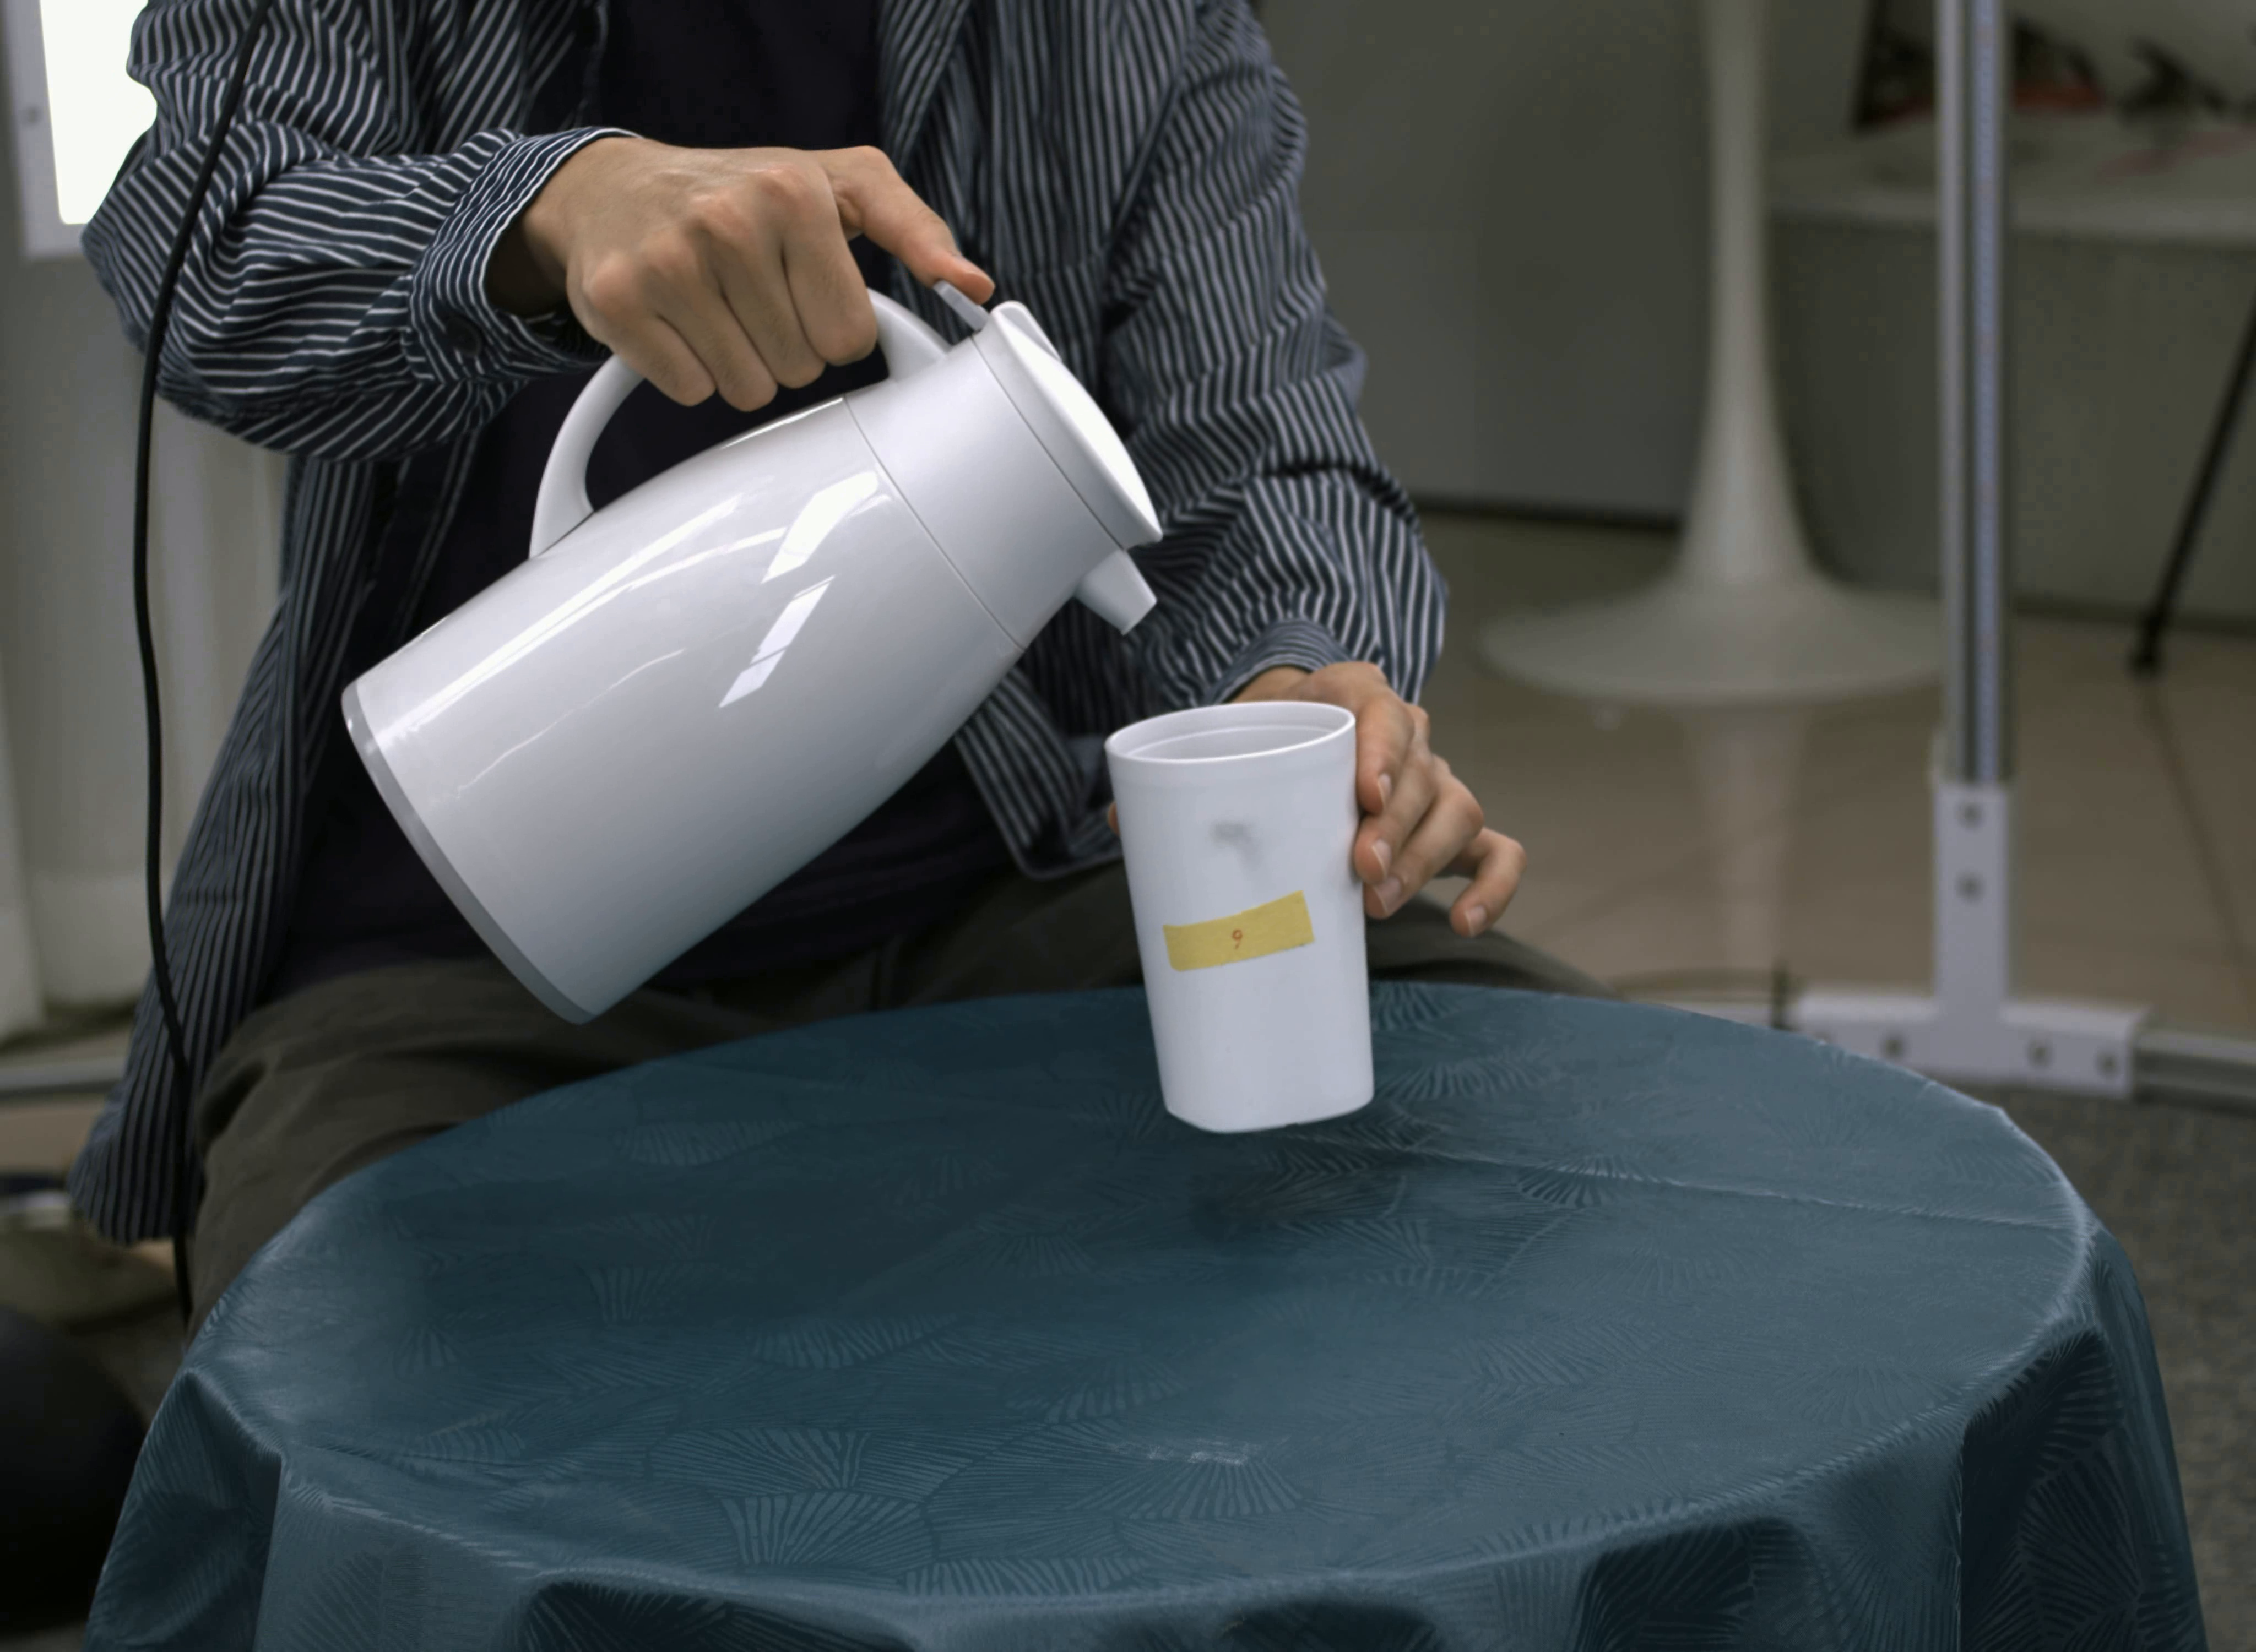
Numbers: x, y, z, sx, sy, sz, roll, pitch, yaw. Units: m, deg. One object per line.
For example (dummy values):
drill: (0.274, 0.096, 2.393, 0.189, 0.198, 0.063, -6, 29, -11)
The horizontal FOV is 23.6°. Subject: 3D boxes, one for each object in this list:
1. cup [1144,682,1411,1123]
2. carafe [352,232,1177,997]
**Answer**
cup: (0.052, 0.025, 1.722, 0.080, 0.127, 0.082, -6, 12, 0)
carafe: (-0.116, -0.083, 1.692, 0.248, 0.168, 0.132, -33, 9, 6)
